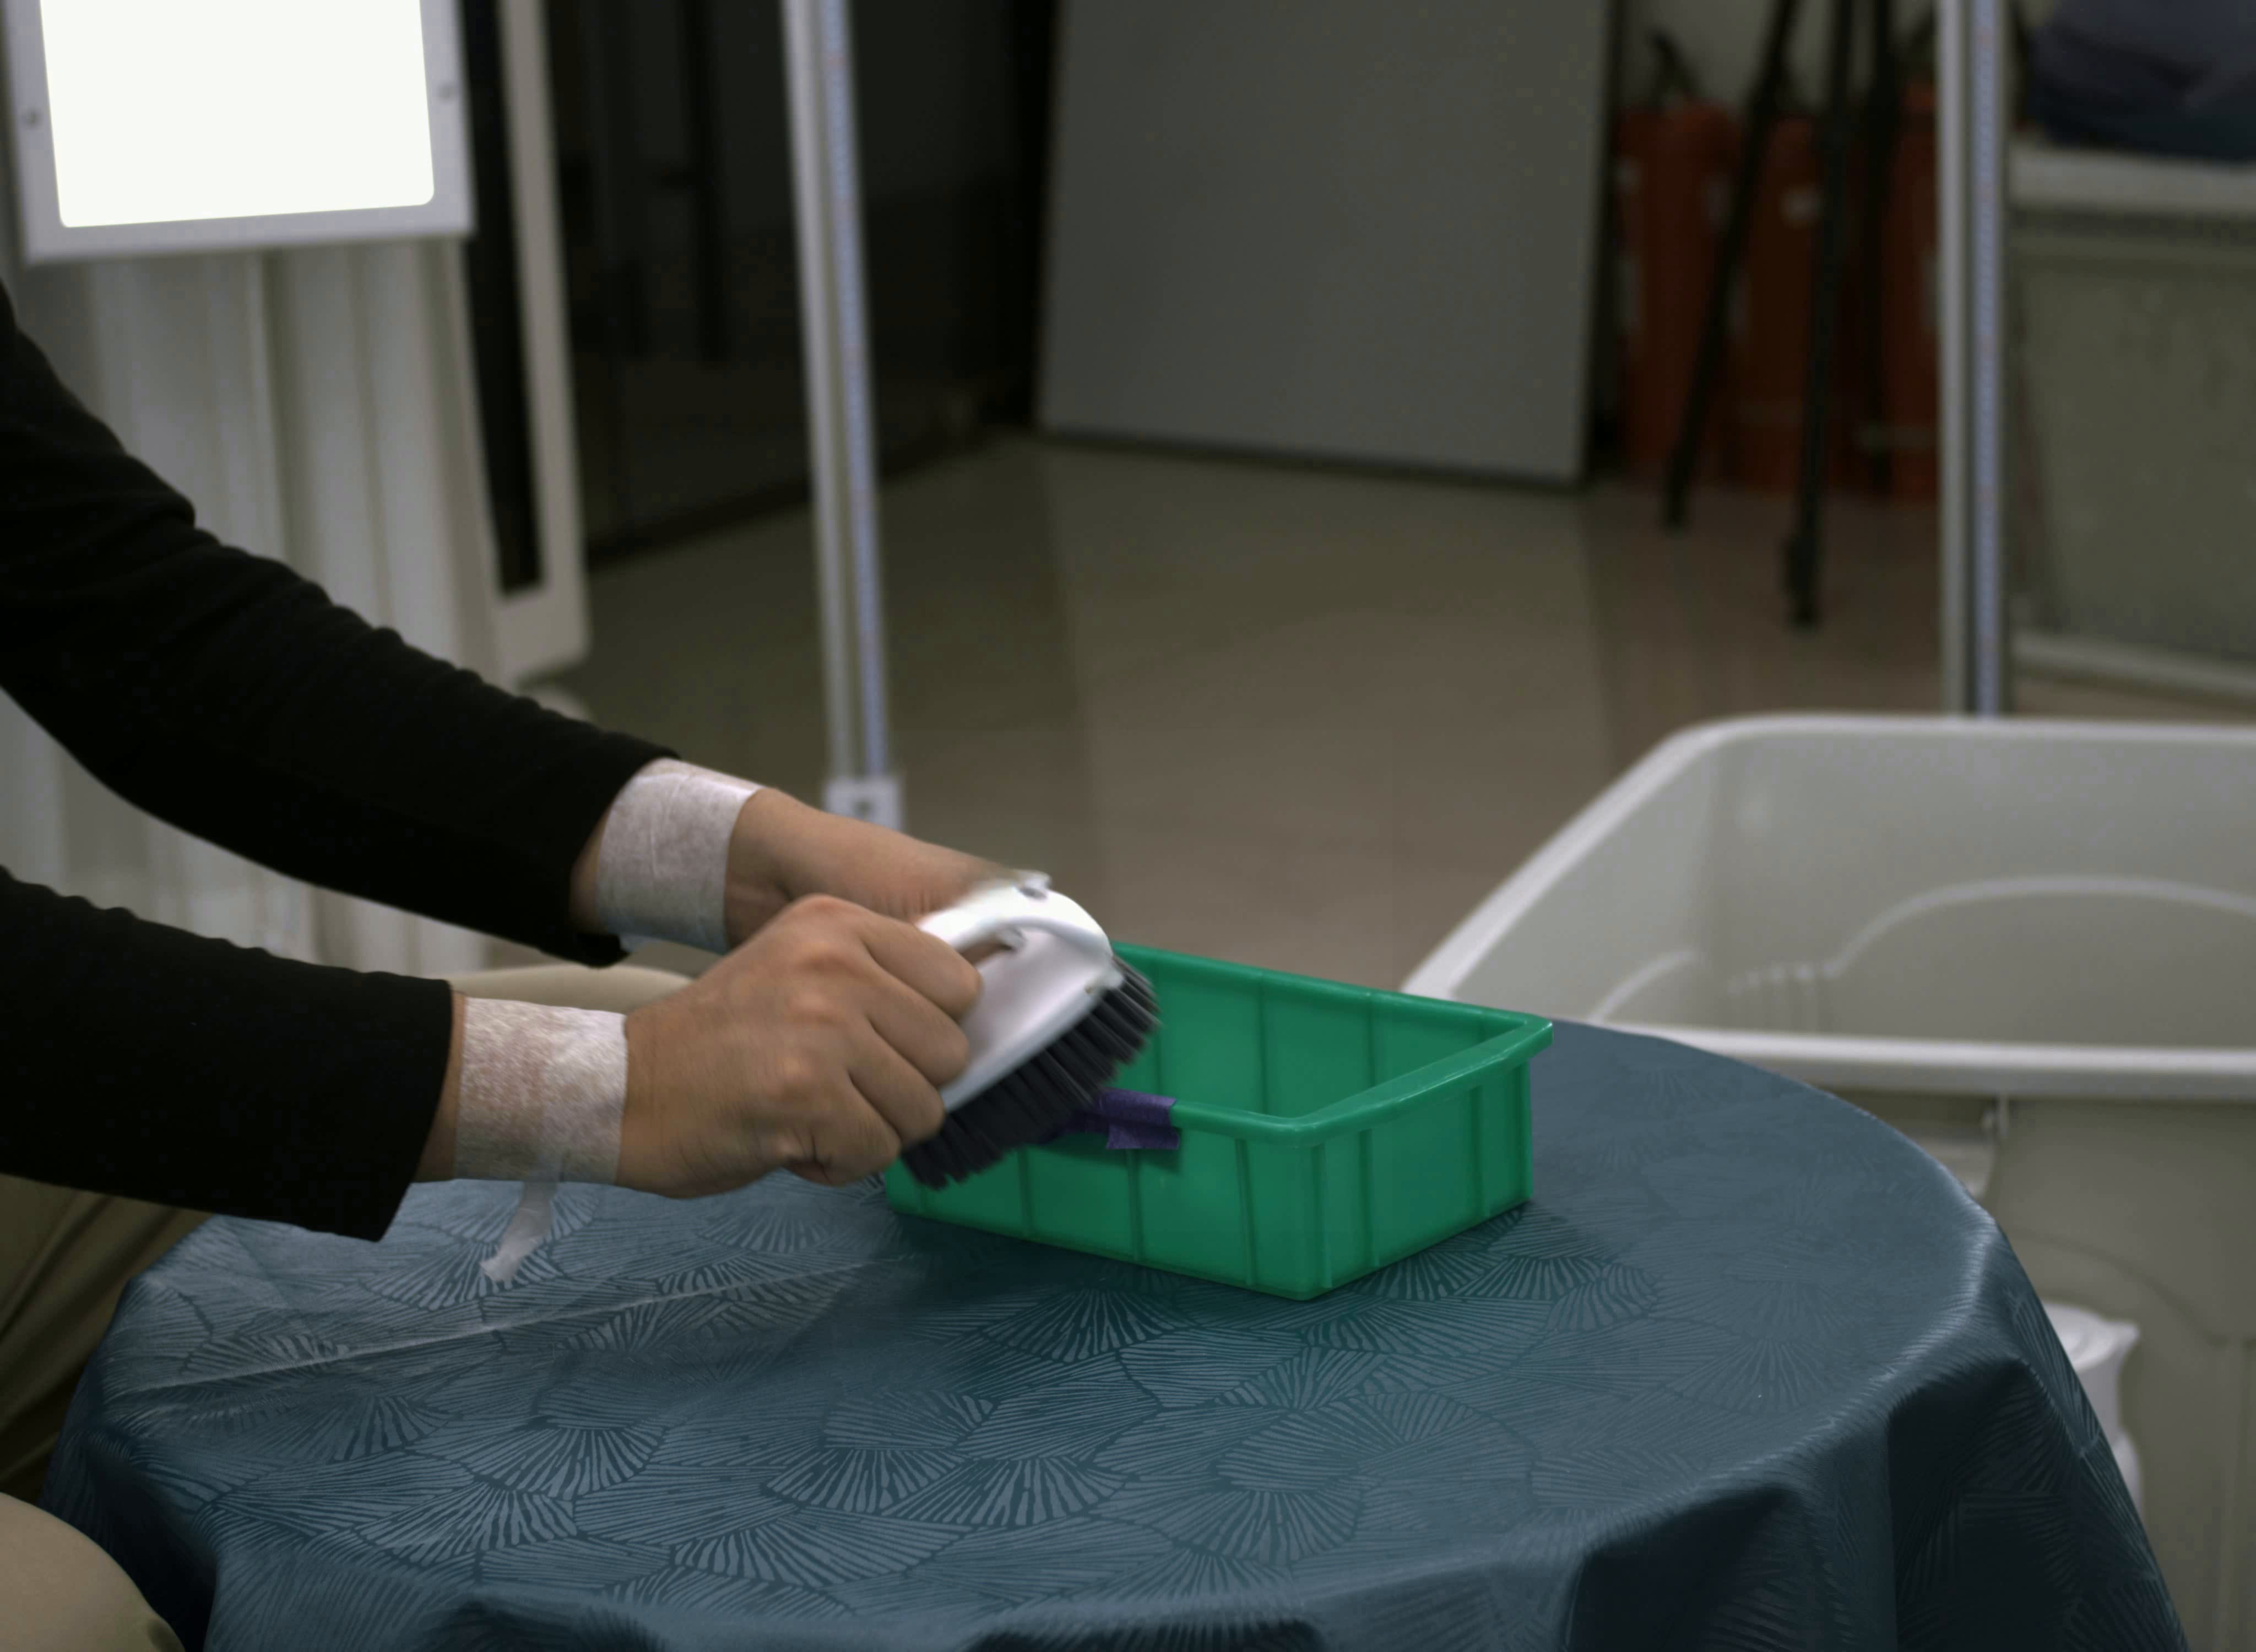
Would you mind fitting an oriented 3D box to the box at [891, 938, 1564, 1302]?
[{"bbox_3d":[0.028,0.094,1.741,0.212,0.066,0.136,9,21,40],"label":"box"}]

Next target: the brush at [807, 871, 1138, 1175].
[{"bbox_3d":[-0.055,0.055,1.684,0.099,0.072,0.051,-35,37,6],"label":"brush"}]
